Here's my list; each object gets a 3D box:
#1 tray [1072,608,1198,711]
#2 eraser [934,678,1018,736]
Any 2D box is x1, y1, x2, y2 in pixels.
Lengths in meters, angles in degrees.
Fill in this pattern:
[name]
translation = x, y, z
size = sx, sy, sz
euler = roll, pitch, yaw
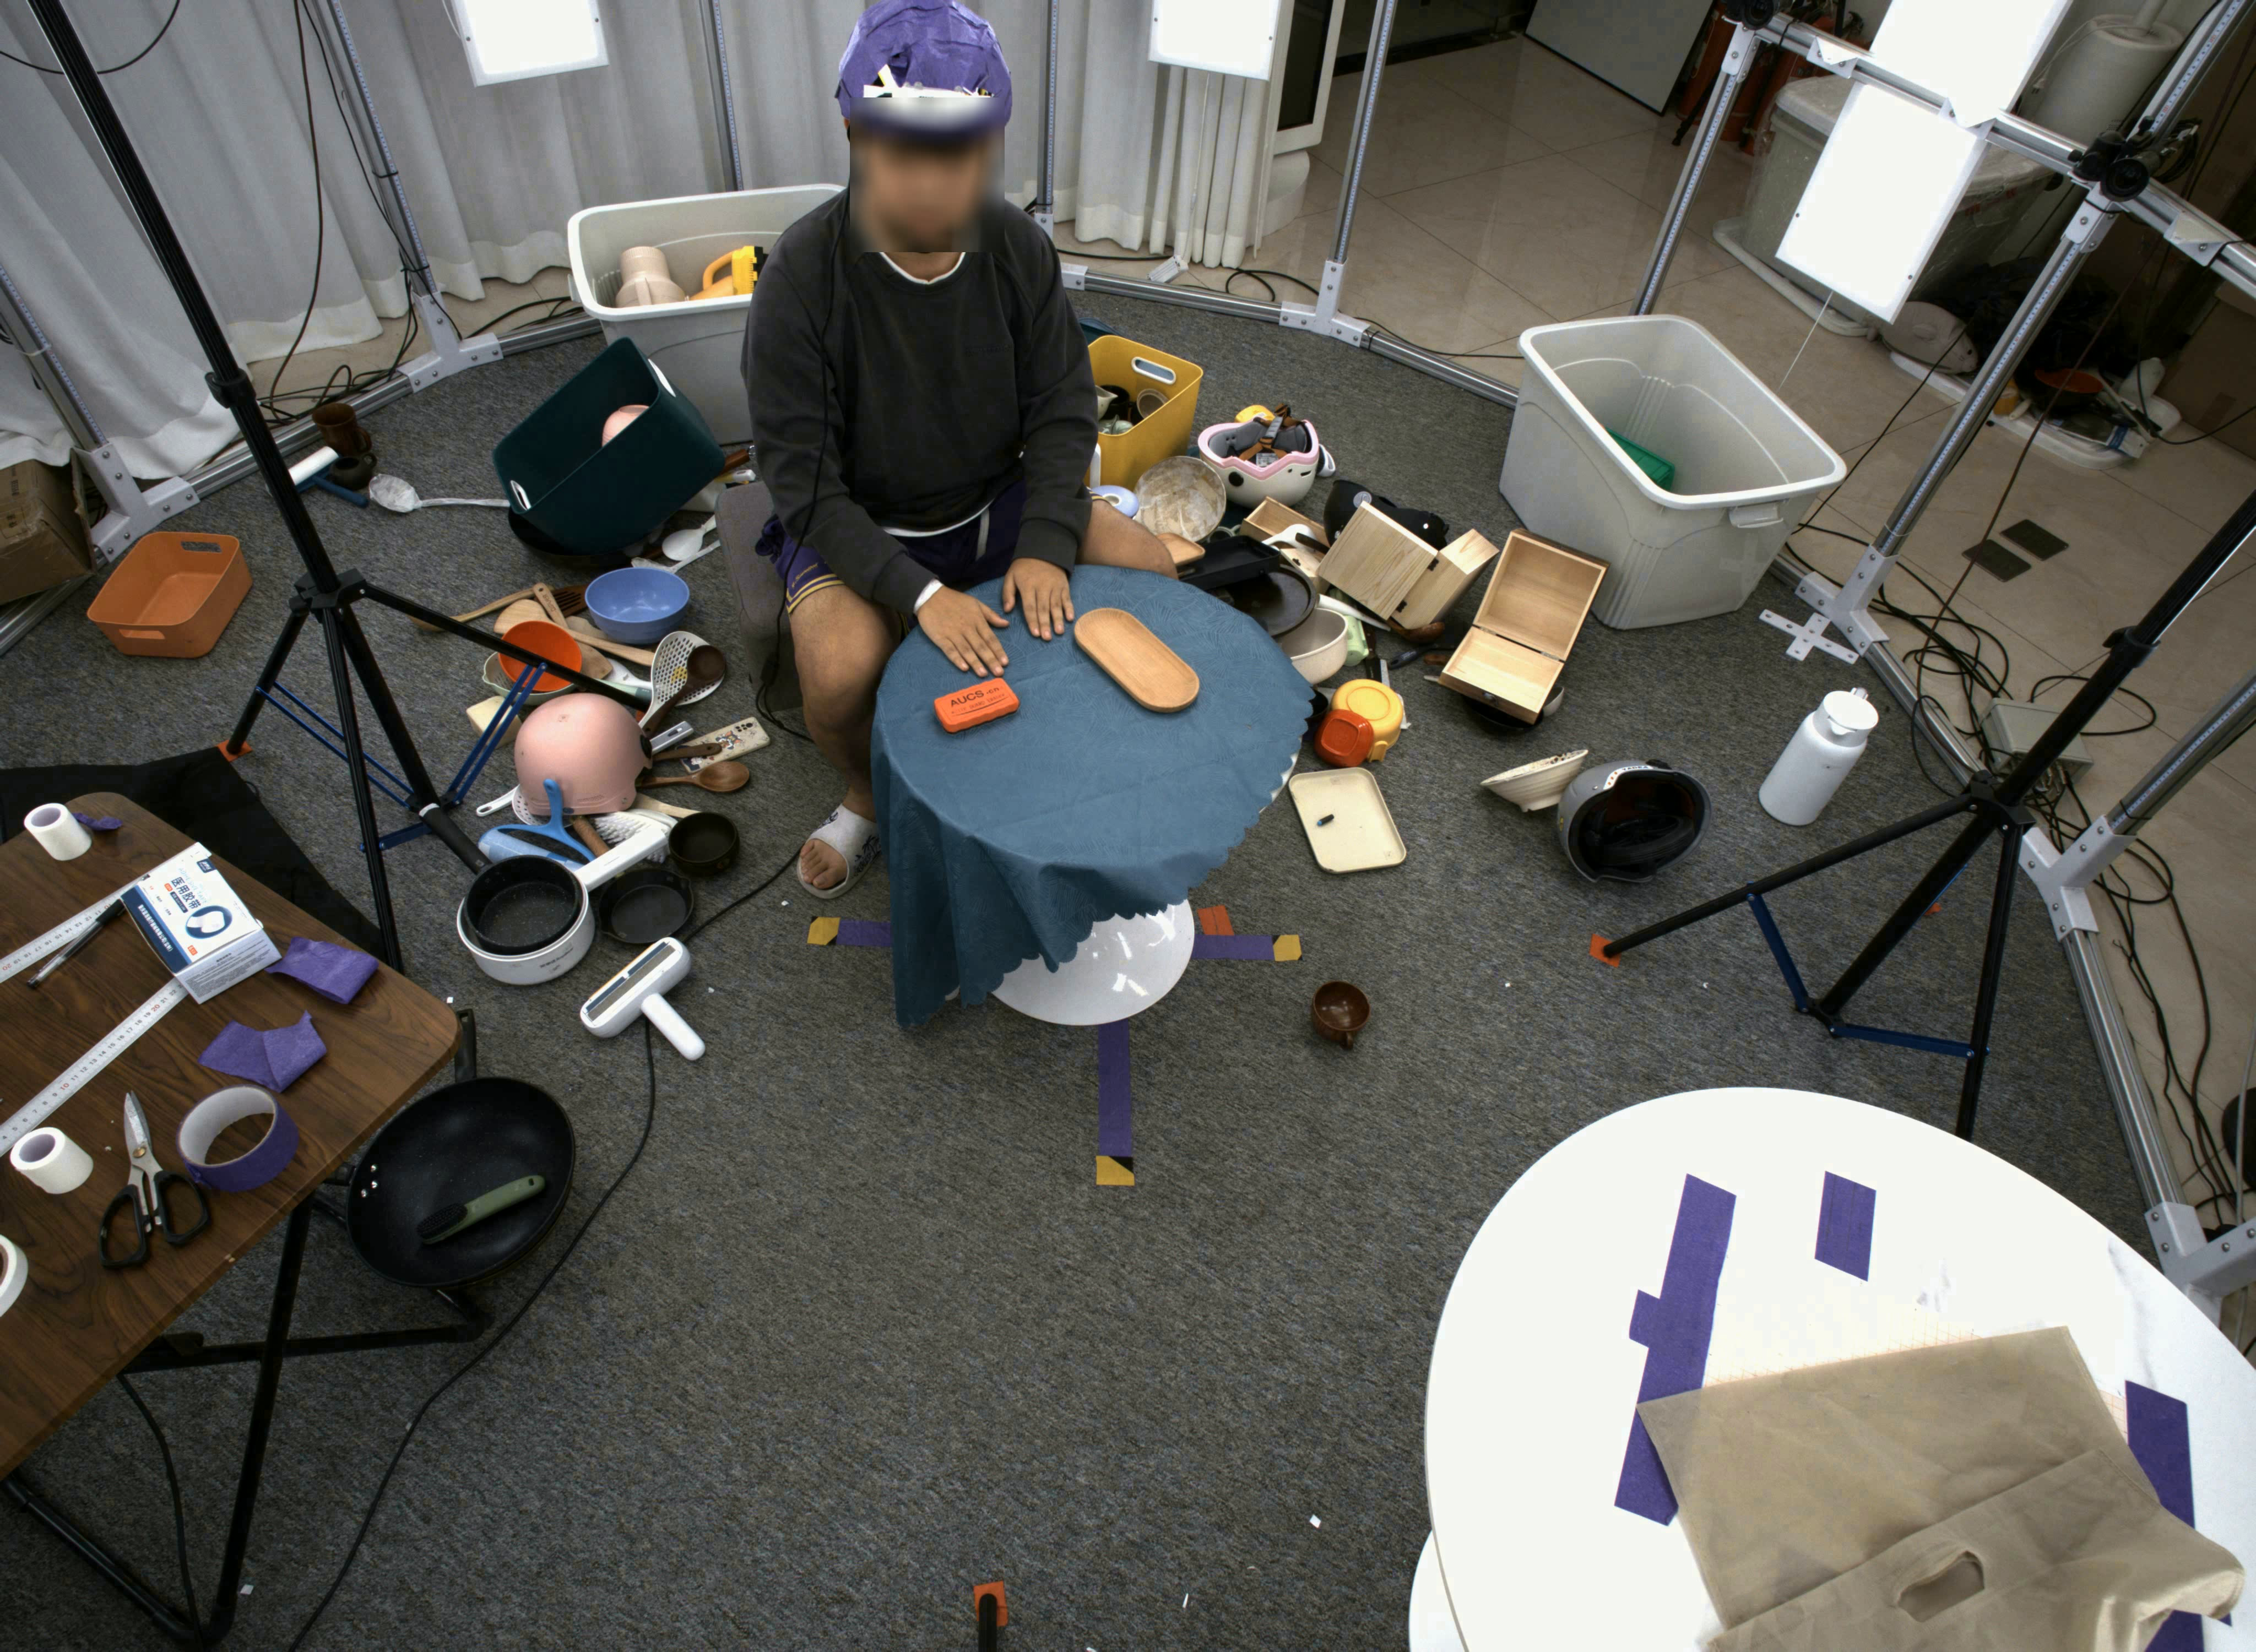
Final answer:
[tray]
translation = 0.008, -0.244, 1.868
size = 0.102, 0.020, 0.235
euler = -28, 55, -27
[eraser]
translation = -0.210, -0.166, 1.781
size = 0.108, 0.022, 0.060
euler = -21, 61, -20
